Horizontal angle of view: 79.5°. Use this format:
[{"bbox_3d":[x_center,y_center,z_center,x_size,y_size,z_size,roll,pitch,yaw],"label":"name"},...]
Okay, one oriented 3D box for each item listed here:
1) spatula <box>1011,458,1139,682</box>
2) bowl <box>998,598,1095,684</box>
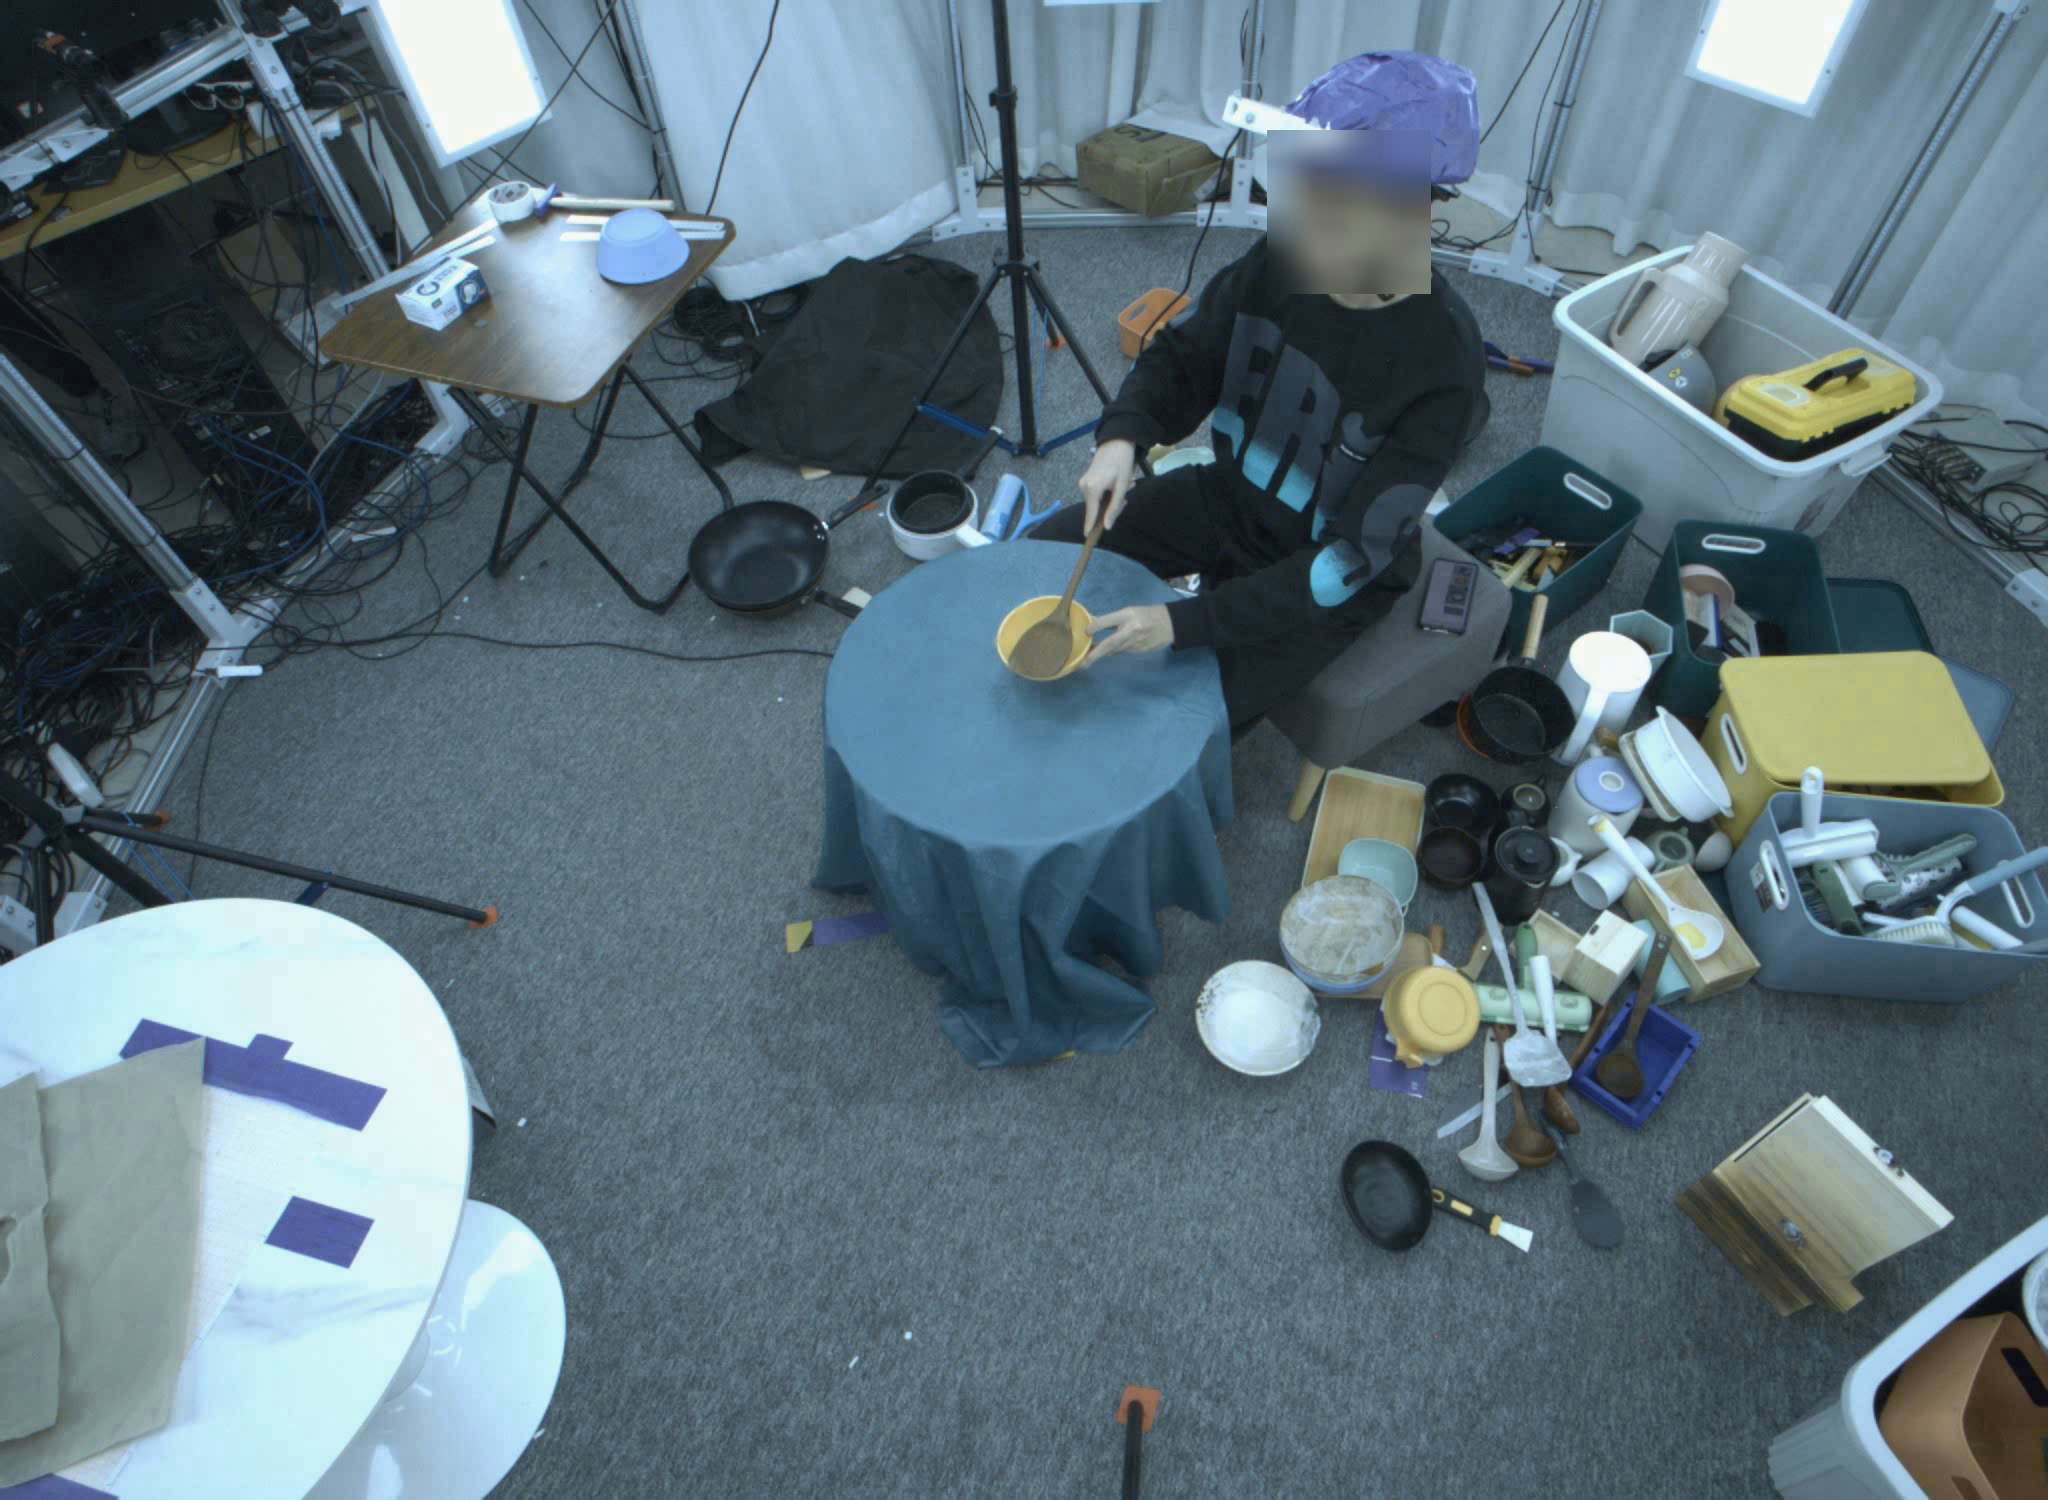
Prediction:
[{"bbox_3d":[0.089,-0.273,1.813,0.094,0.016,0.385,16,77,32],"label":"spatula"},{"bbox_3d":[0.037,-0.151,1.838,0.144,0.061,0.144,-3,62,7],"label":"bowl"}]
